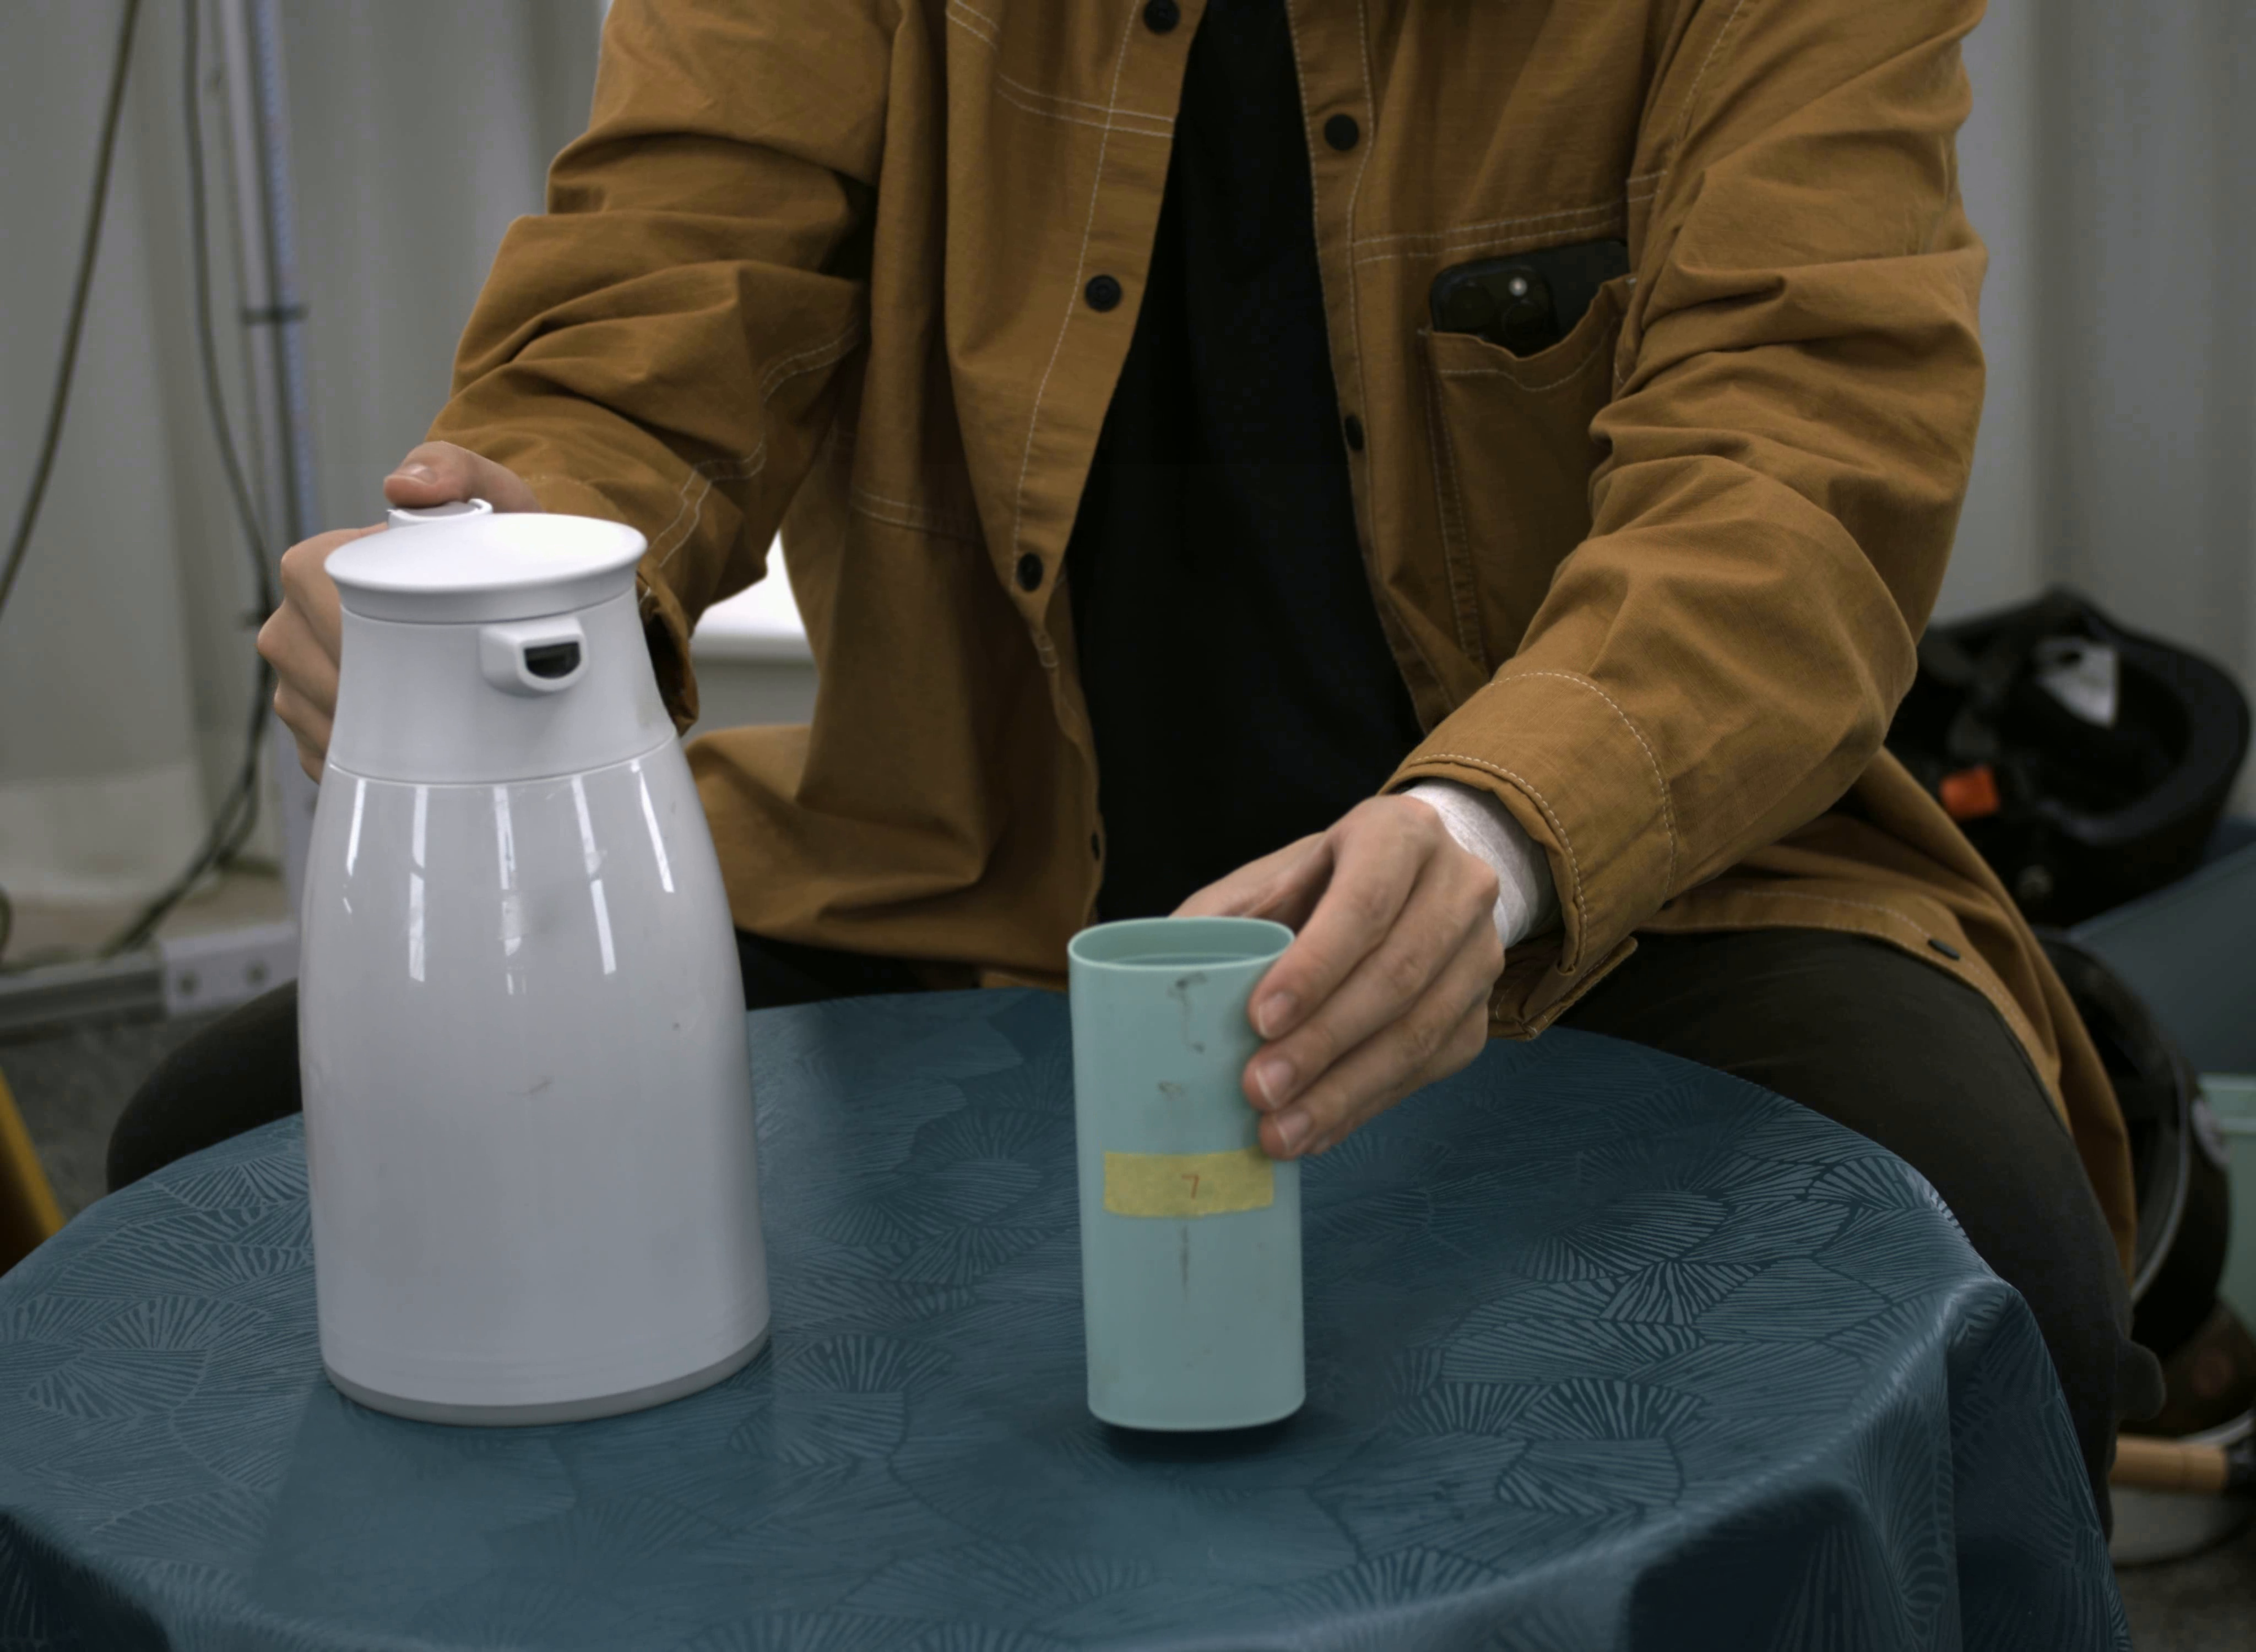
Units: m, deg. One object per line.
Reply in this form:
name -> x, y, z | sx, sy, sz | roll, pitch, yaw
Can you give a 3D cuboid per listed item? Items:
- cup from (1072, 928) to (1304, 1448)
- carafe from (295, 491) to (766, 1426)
cup -> 0.018, 0.098, 1.502 | 0.066, 0.132, 0.067 | -1, 10, 0
carafe -> -0.185, 0.030, 1.591 | 0.132, 0.248, 0.169 | -9, 14, -22
